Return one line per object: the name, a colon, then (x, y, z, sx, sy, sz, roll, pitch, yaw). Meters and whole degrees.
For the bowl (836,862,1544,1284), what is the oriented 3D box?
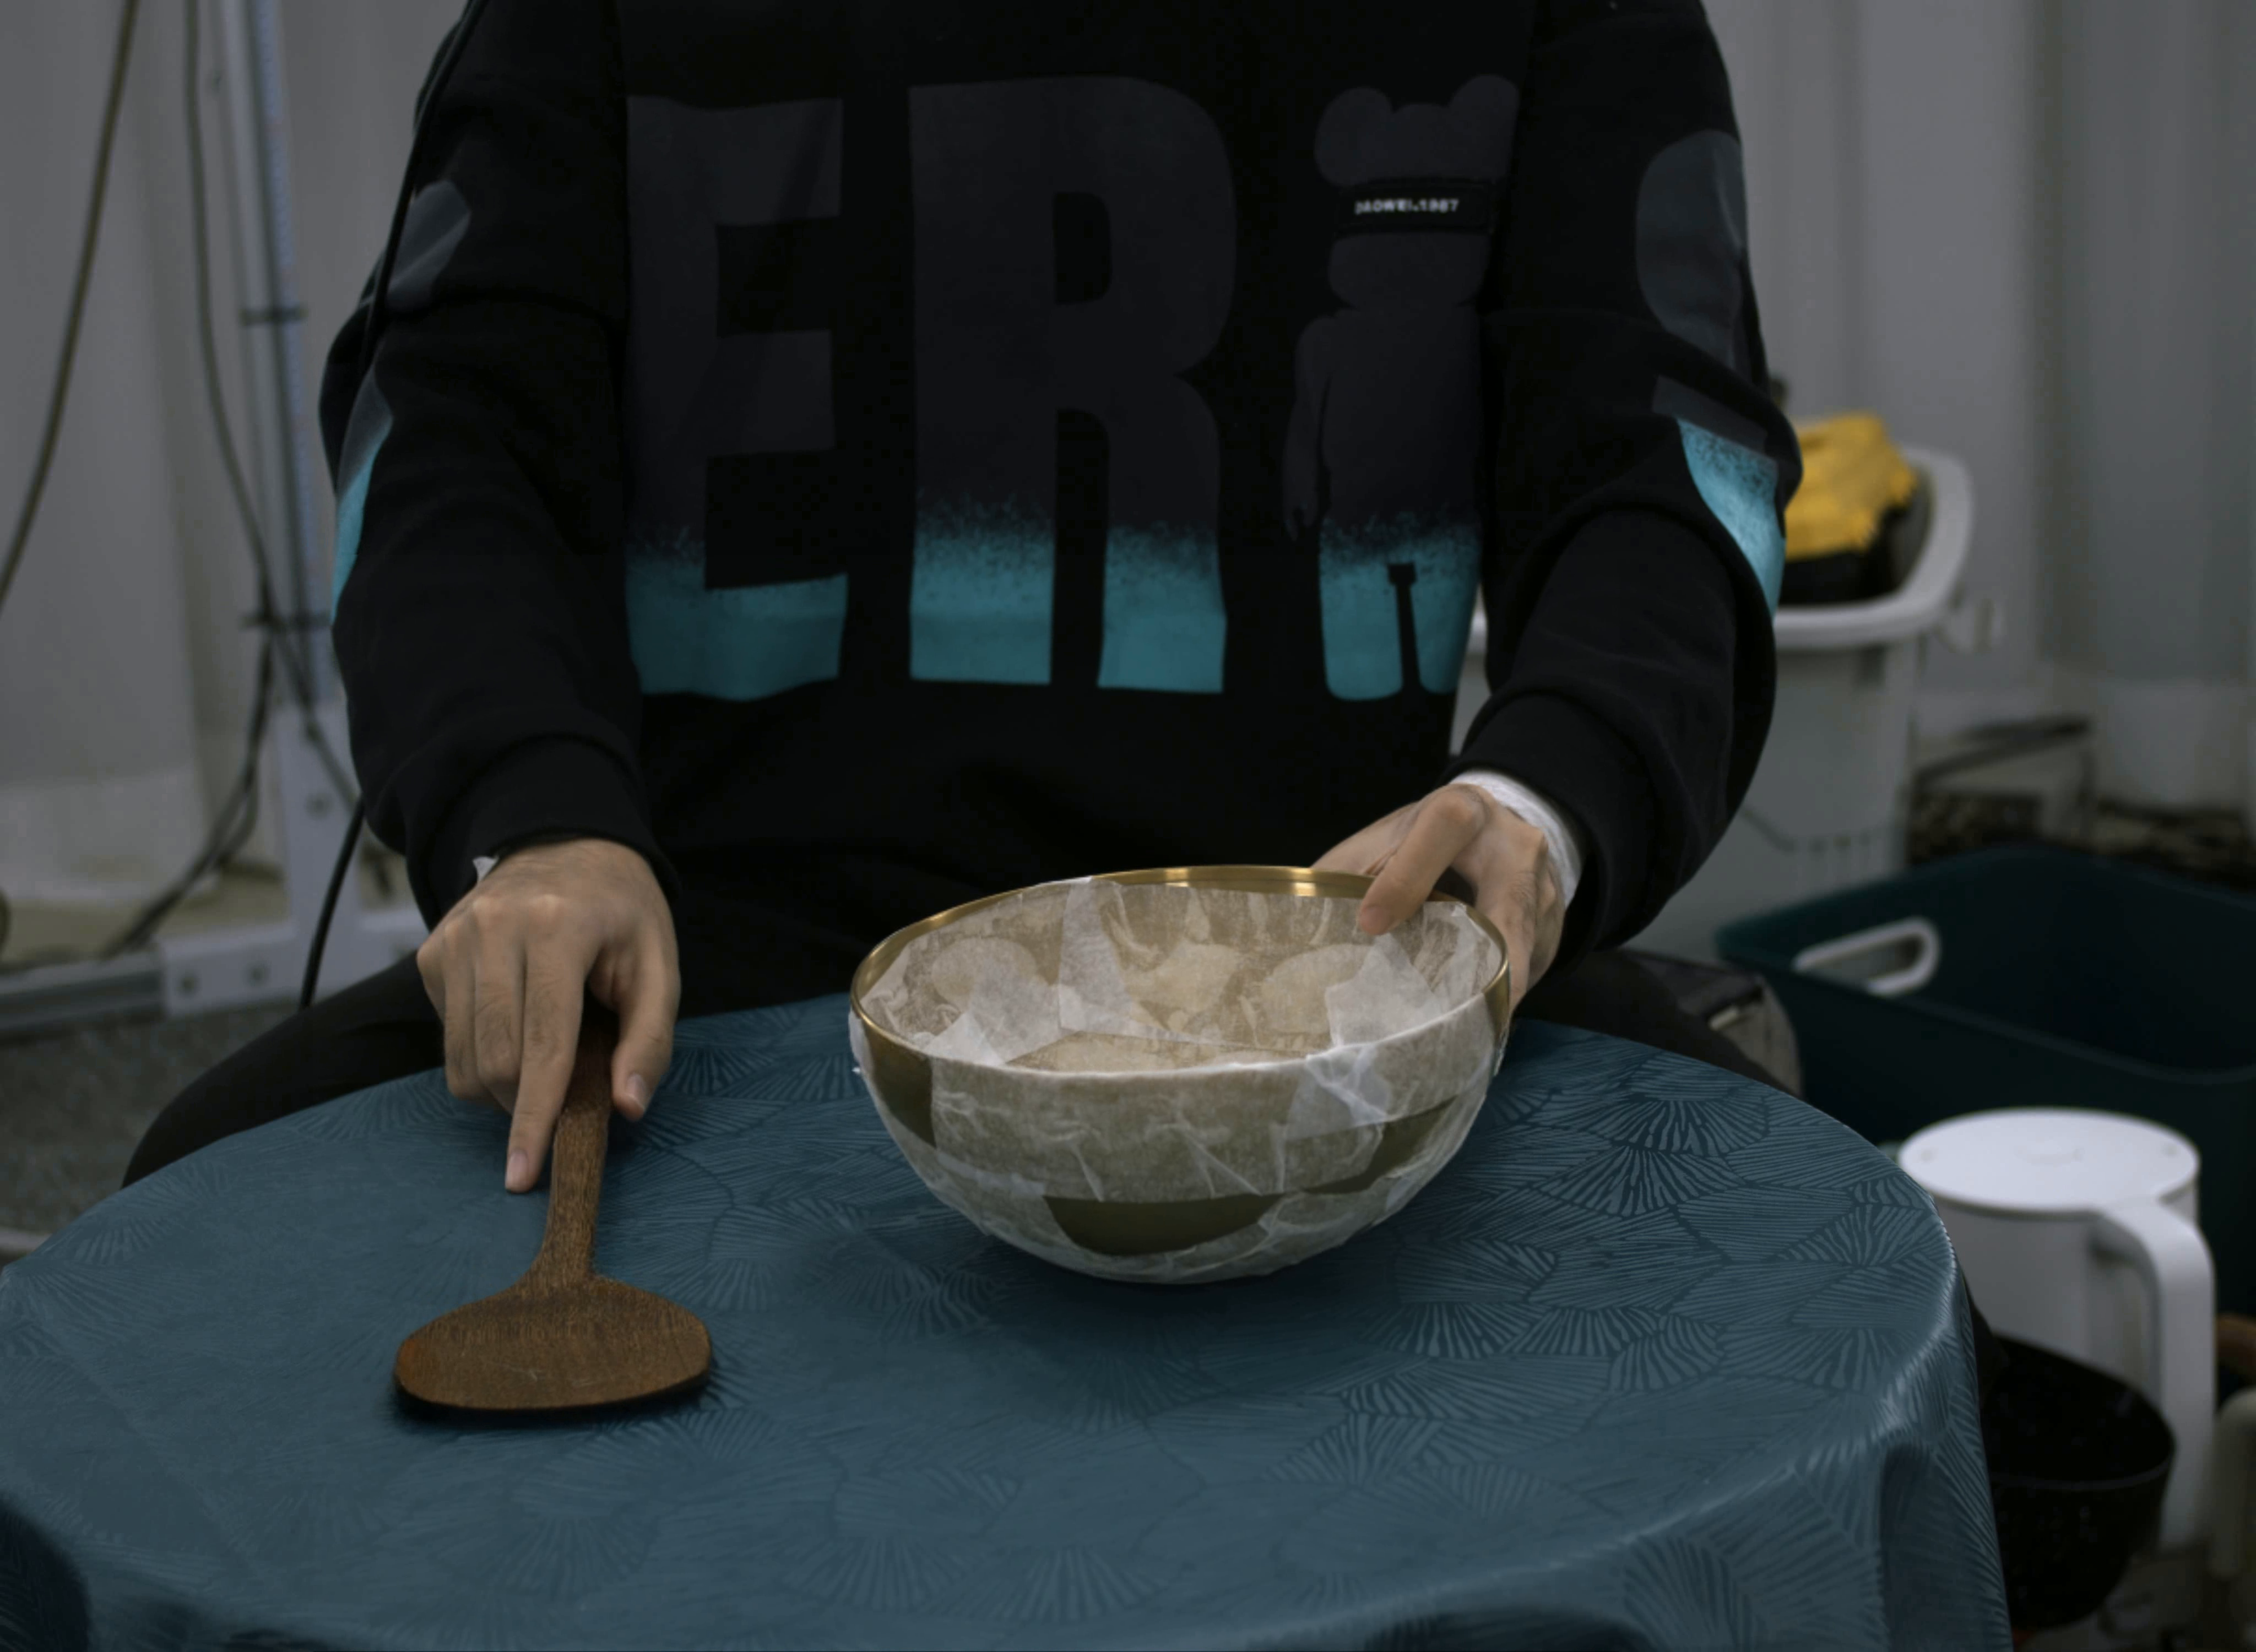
bowl: (0.020, 0.083, 1.651, 0.214, 0.094, 0.216, -5, 15, 1)

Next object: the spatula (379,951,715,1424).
spatula: (-0.174, 0.106, 1.721, 0.096, 0.015, 0.389, -3, 19, -2)
